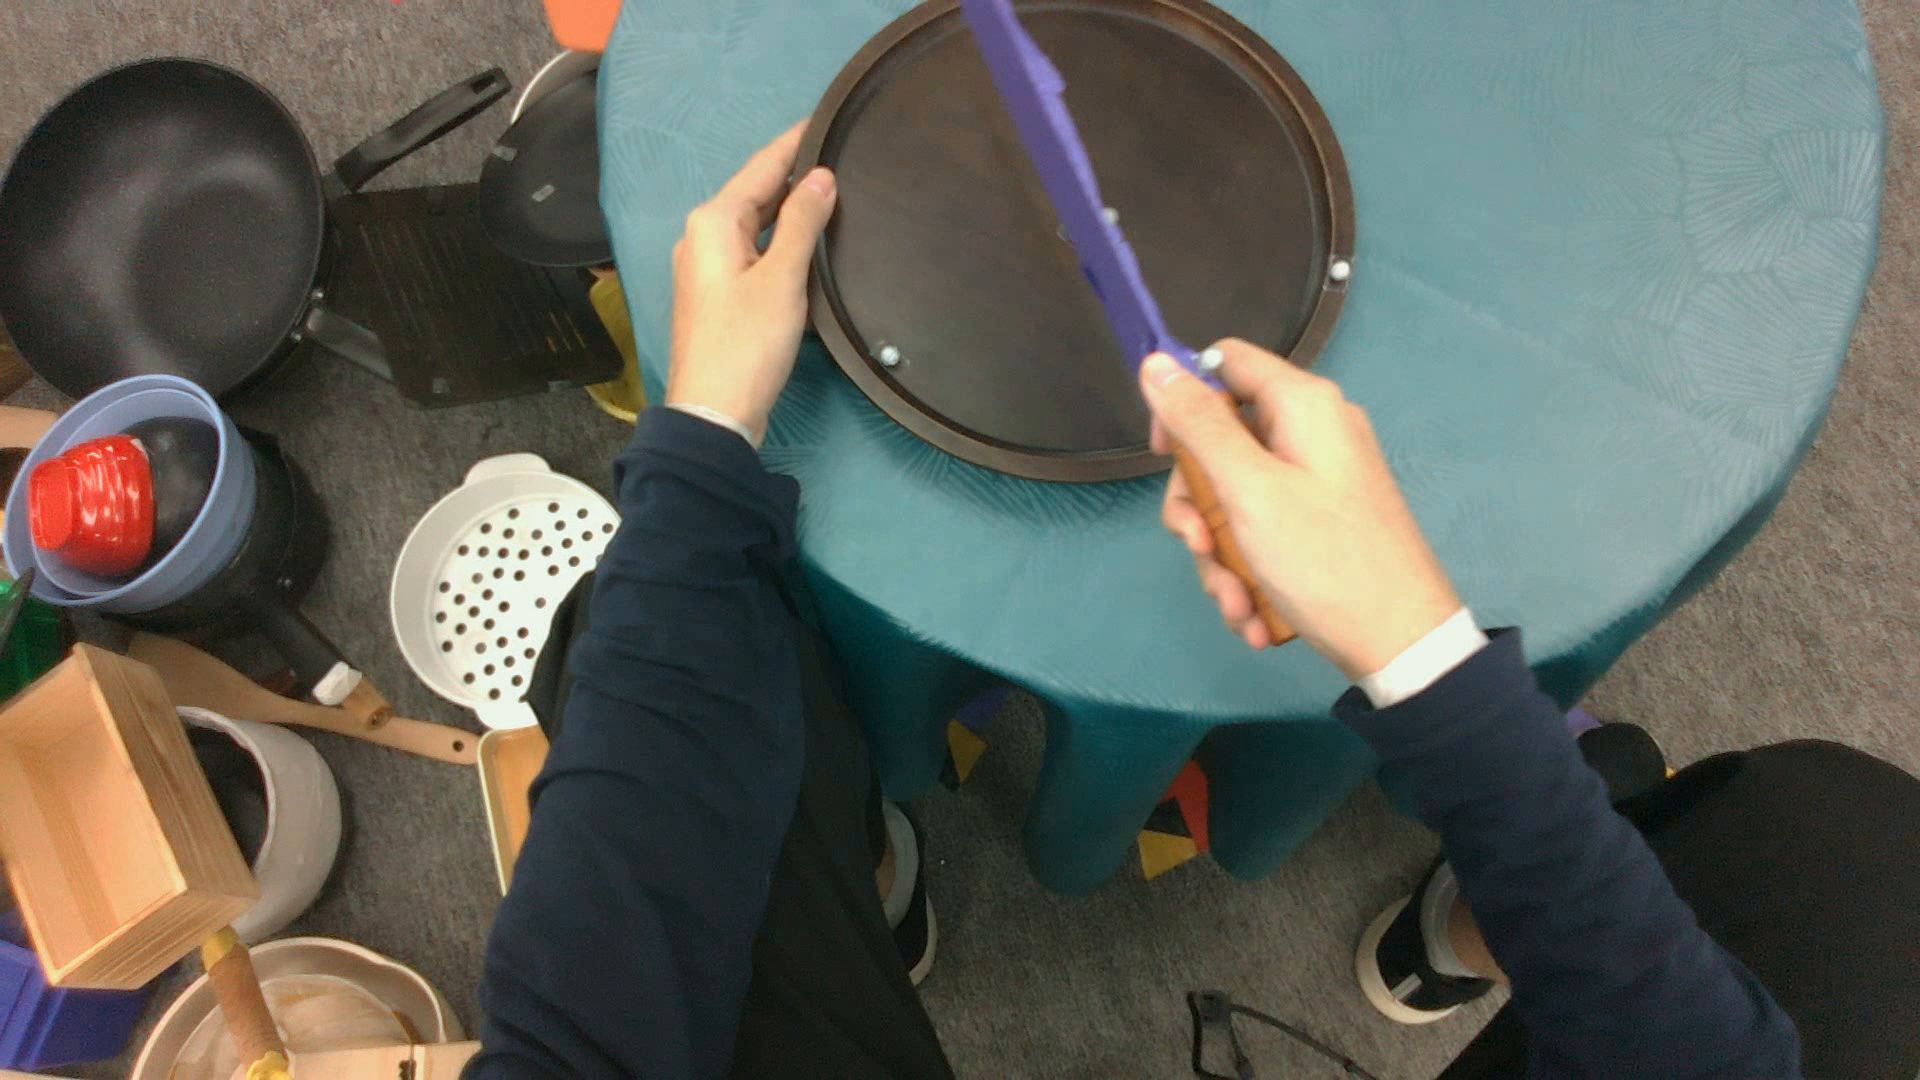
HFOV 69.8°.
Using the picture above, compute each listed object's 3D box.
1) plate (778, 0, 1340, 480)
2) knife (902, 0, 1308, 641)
[{"bbox_3d":[0.044,-0.146,0.625,0.255,0.029,0.255,1,74,-2],"label":"plate"},{"bbox_3d":[0.046,-0.105,0.539,0.032,0.104,0.315,-26,79,3],"label":"knife"}]
